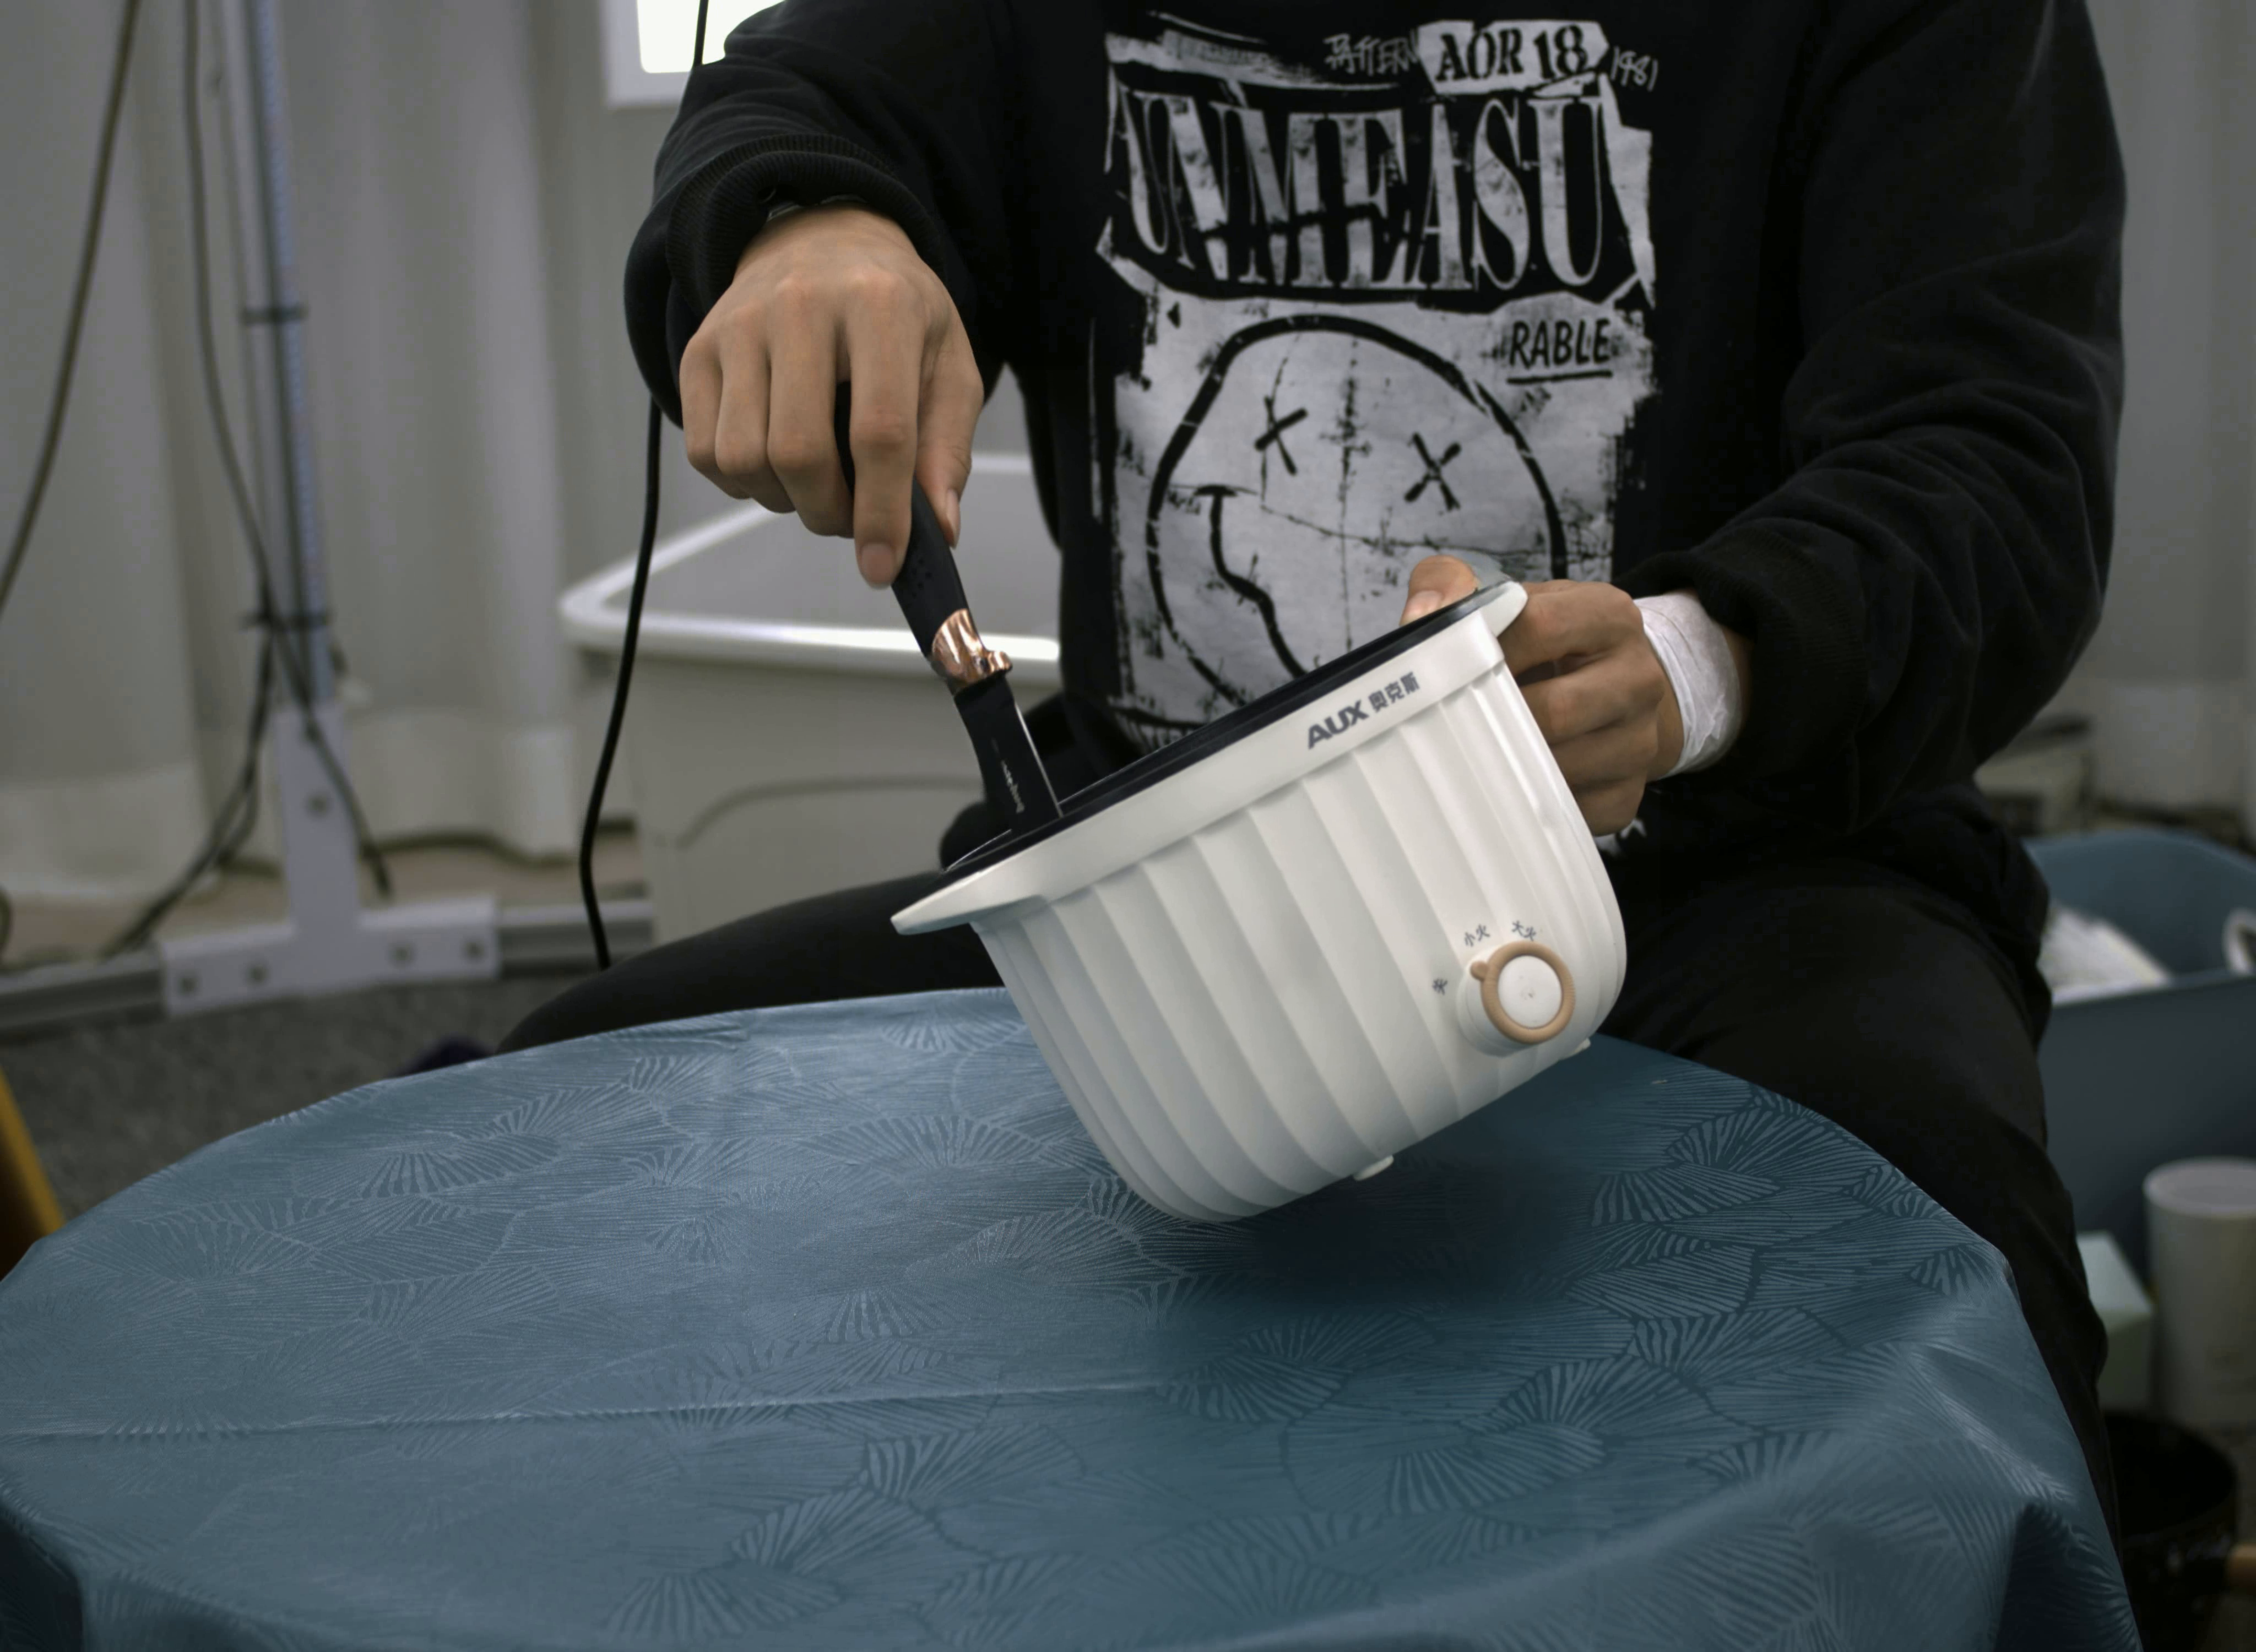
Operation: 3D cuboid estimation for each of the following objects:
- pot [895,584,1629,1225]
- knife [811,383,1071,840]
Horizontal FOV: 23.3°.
[{"bbox_3d":[0.059,0.030,1.646,0.240,0.143,0.190,-30,-1,-28],"label":"pot"},{"bbox_3d":[-0.043,-0.037,1.649,0.026,0.227,0.017,-30,-16,16],"label":"knife"}]
